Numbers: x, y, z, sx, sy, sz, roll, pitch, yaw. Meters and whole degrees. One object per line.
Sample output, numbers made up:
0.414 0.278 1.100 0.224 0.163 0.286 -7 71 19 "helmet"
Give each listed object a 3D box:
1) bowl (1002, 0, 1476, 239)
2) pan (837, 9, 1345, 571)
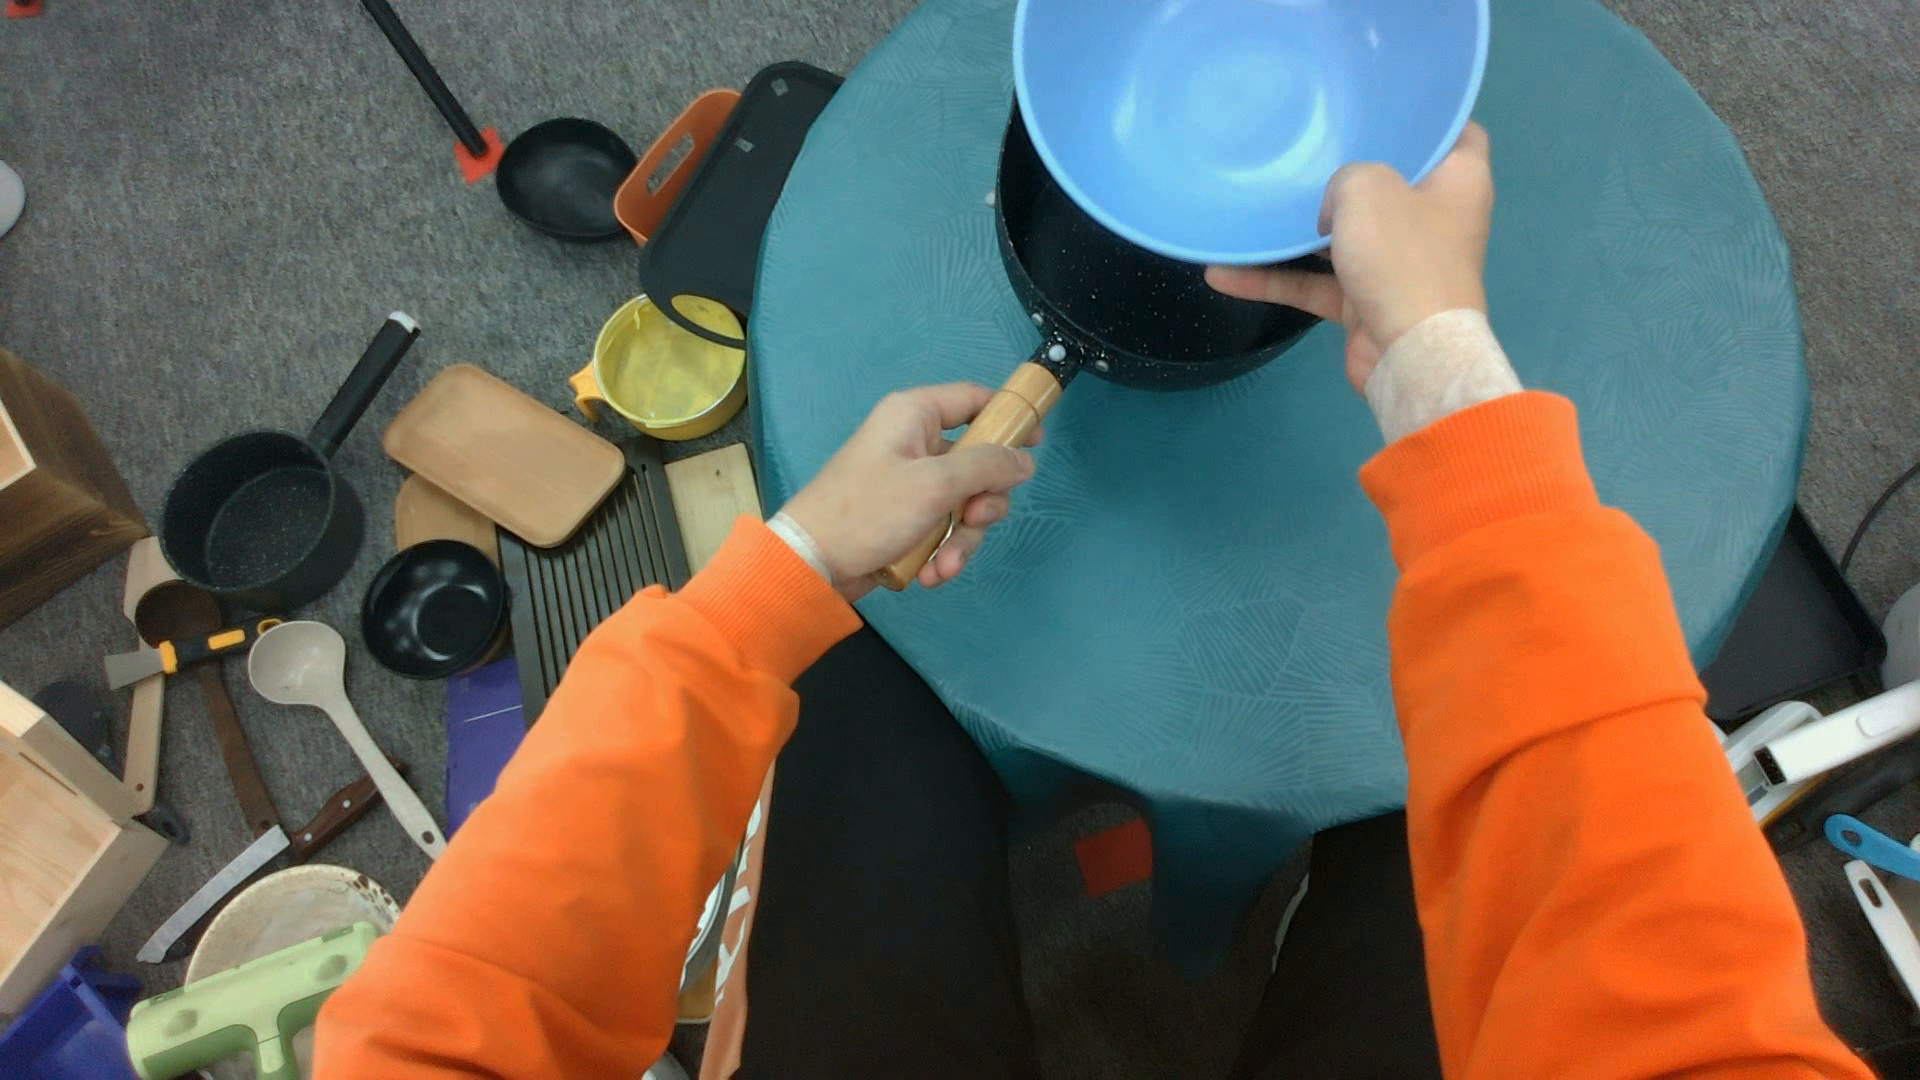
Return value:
0.117 -0.220 0.617 0.196 0.095 0.196 0 86 1 "bowl"
0.053 -0.111 0.693 0.207 0.108 0.343 35 76 4 "pan"
